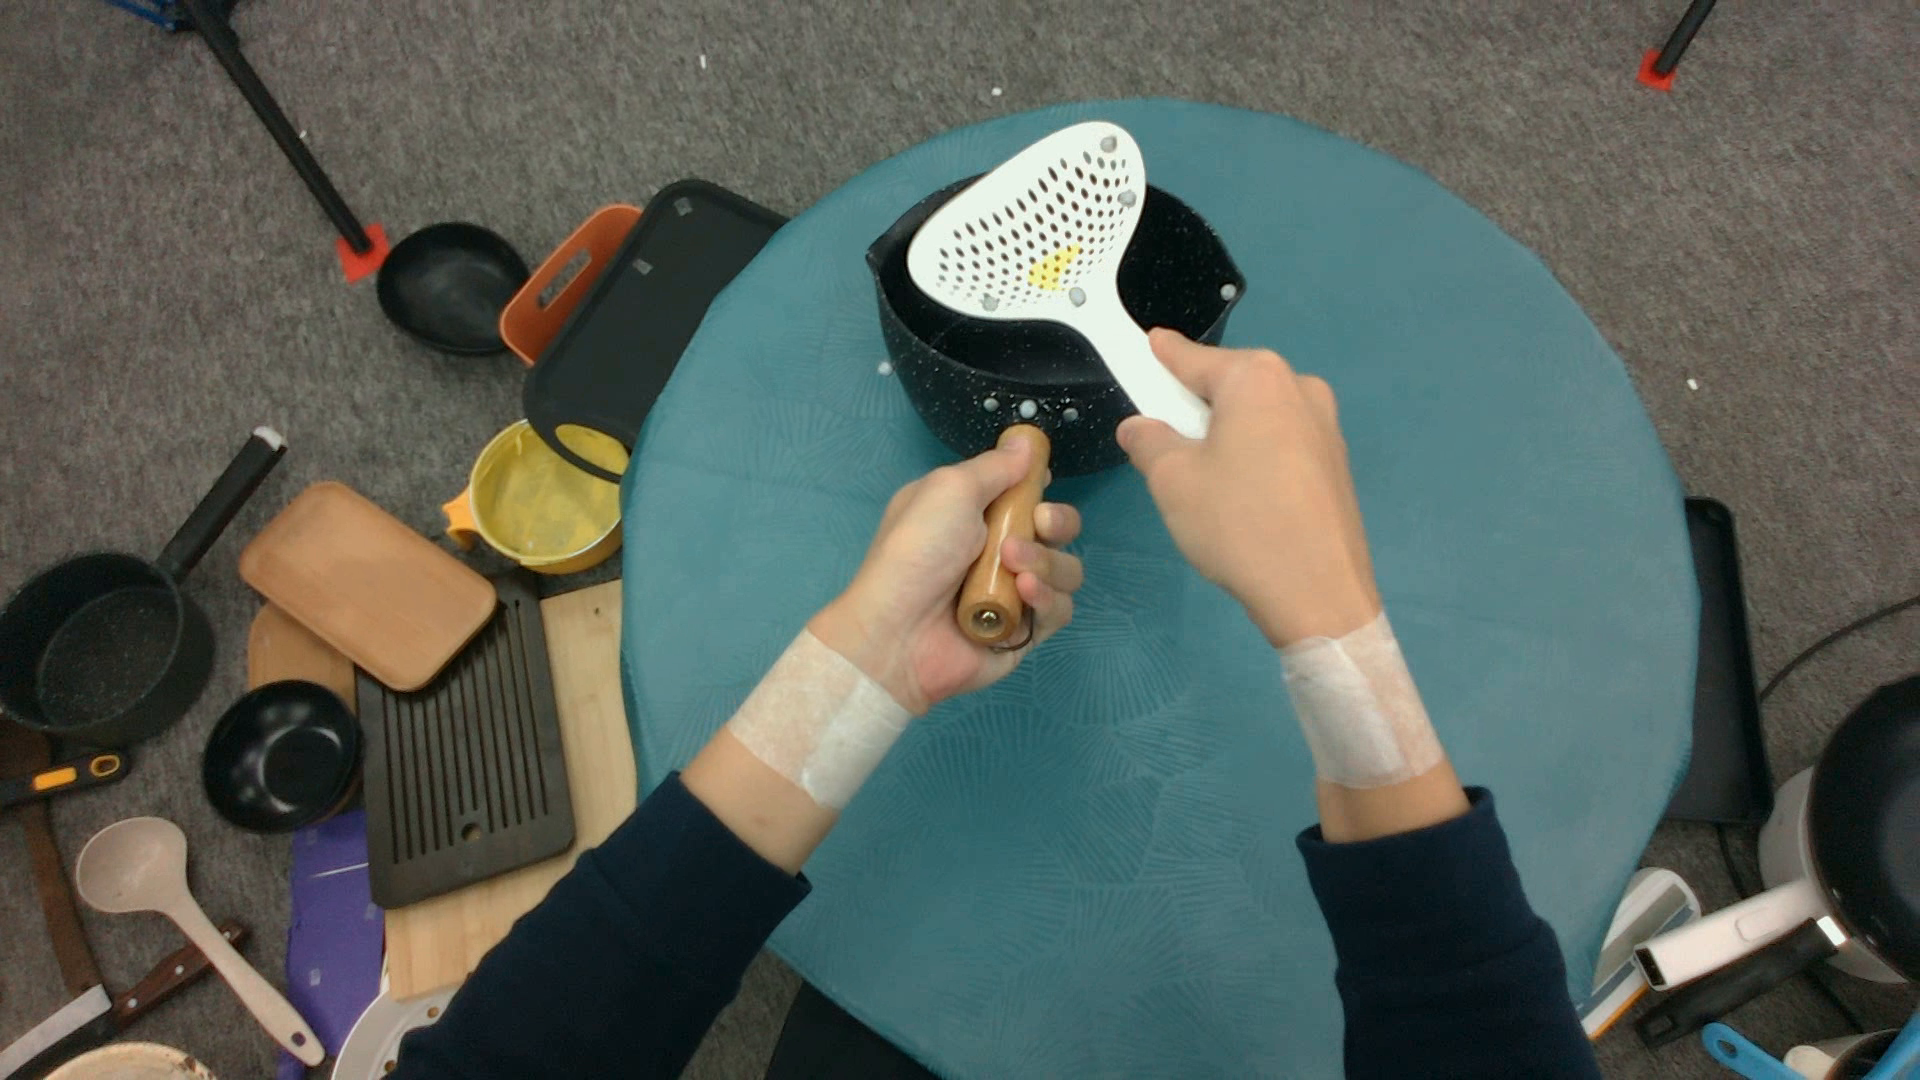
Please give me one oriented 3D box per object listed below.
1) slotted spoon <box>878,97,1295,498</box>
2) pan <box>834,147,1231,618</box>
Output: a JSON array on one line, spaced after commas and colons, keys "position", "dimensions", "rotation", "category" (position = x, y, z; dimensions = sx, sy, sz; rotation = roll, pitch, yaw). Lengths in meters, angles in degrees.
[{"position": [0.056, -0.117, 0.634], "dimensions": [0.137, 0.050, 0.349], "rotation": [-31, 34, 3], "category": "slotted spoon"}, {"position": [0.028, -0.072, 0.686], "dimensions": [0.207, 0.107, 0.344], "rotation": [5, 48, 3], "category": "pan"}]
